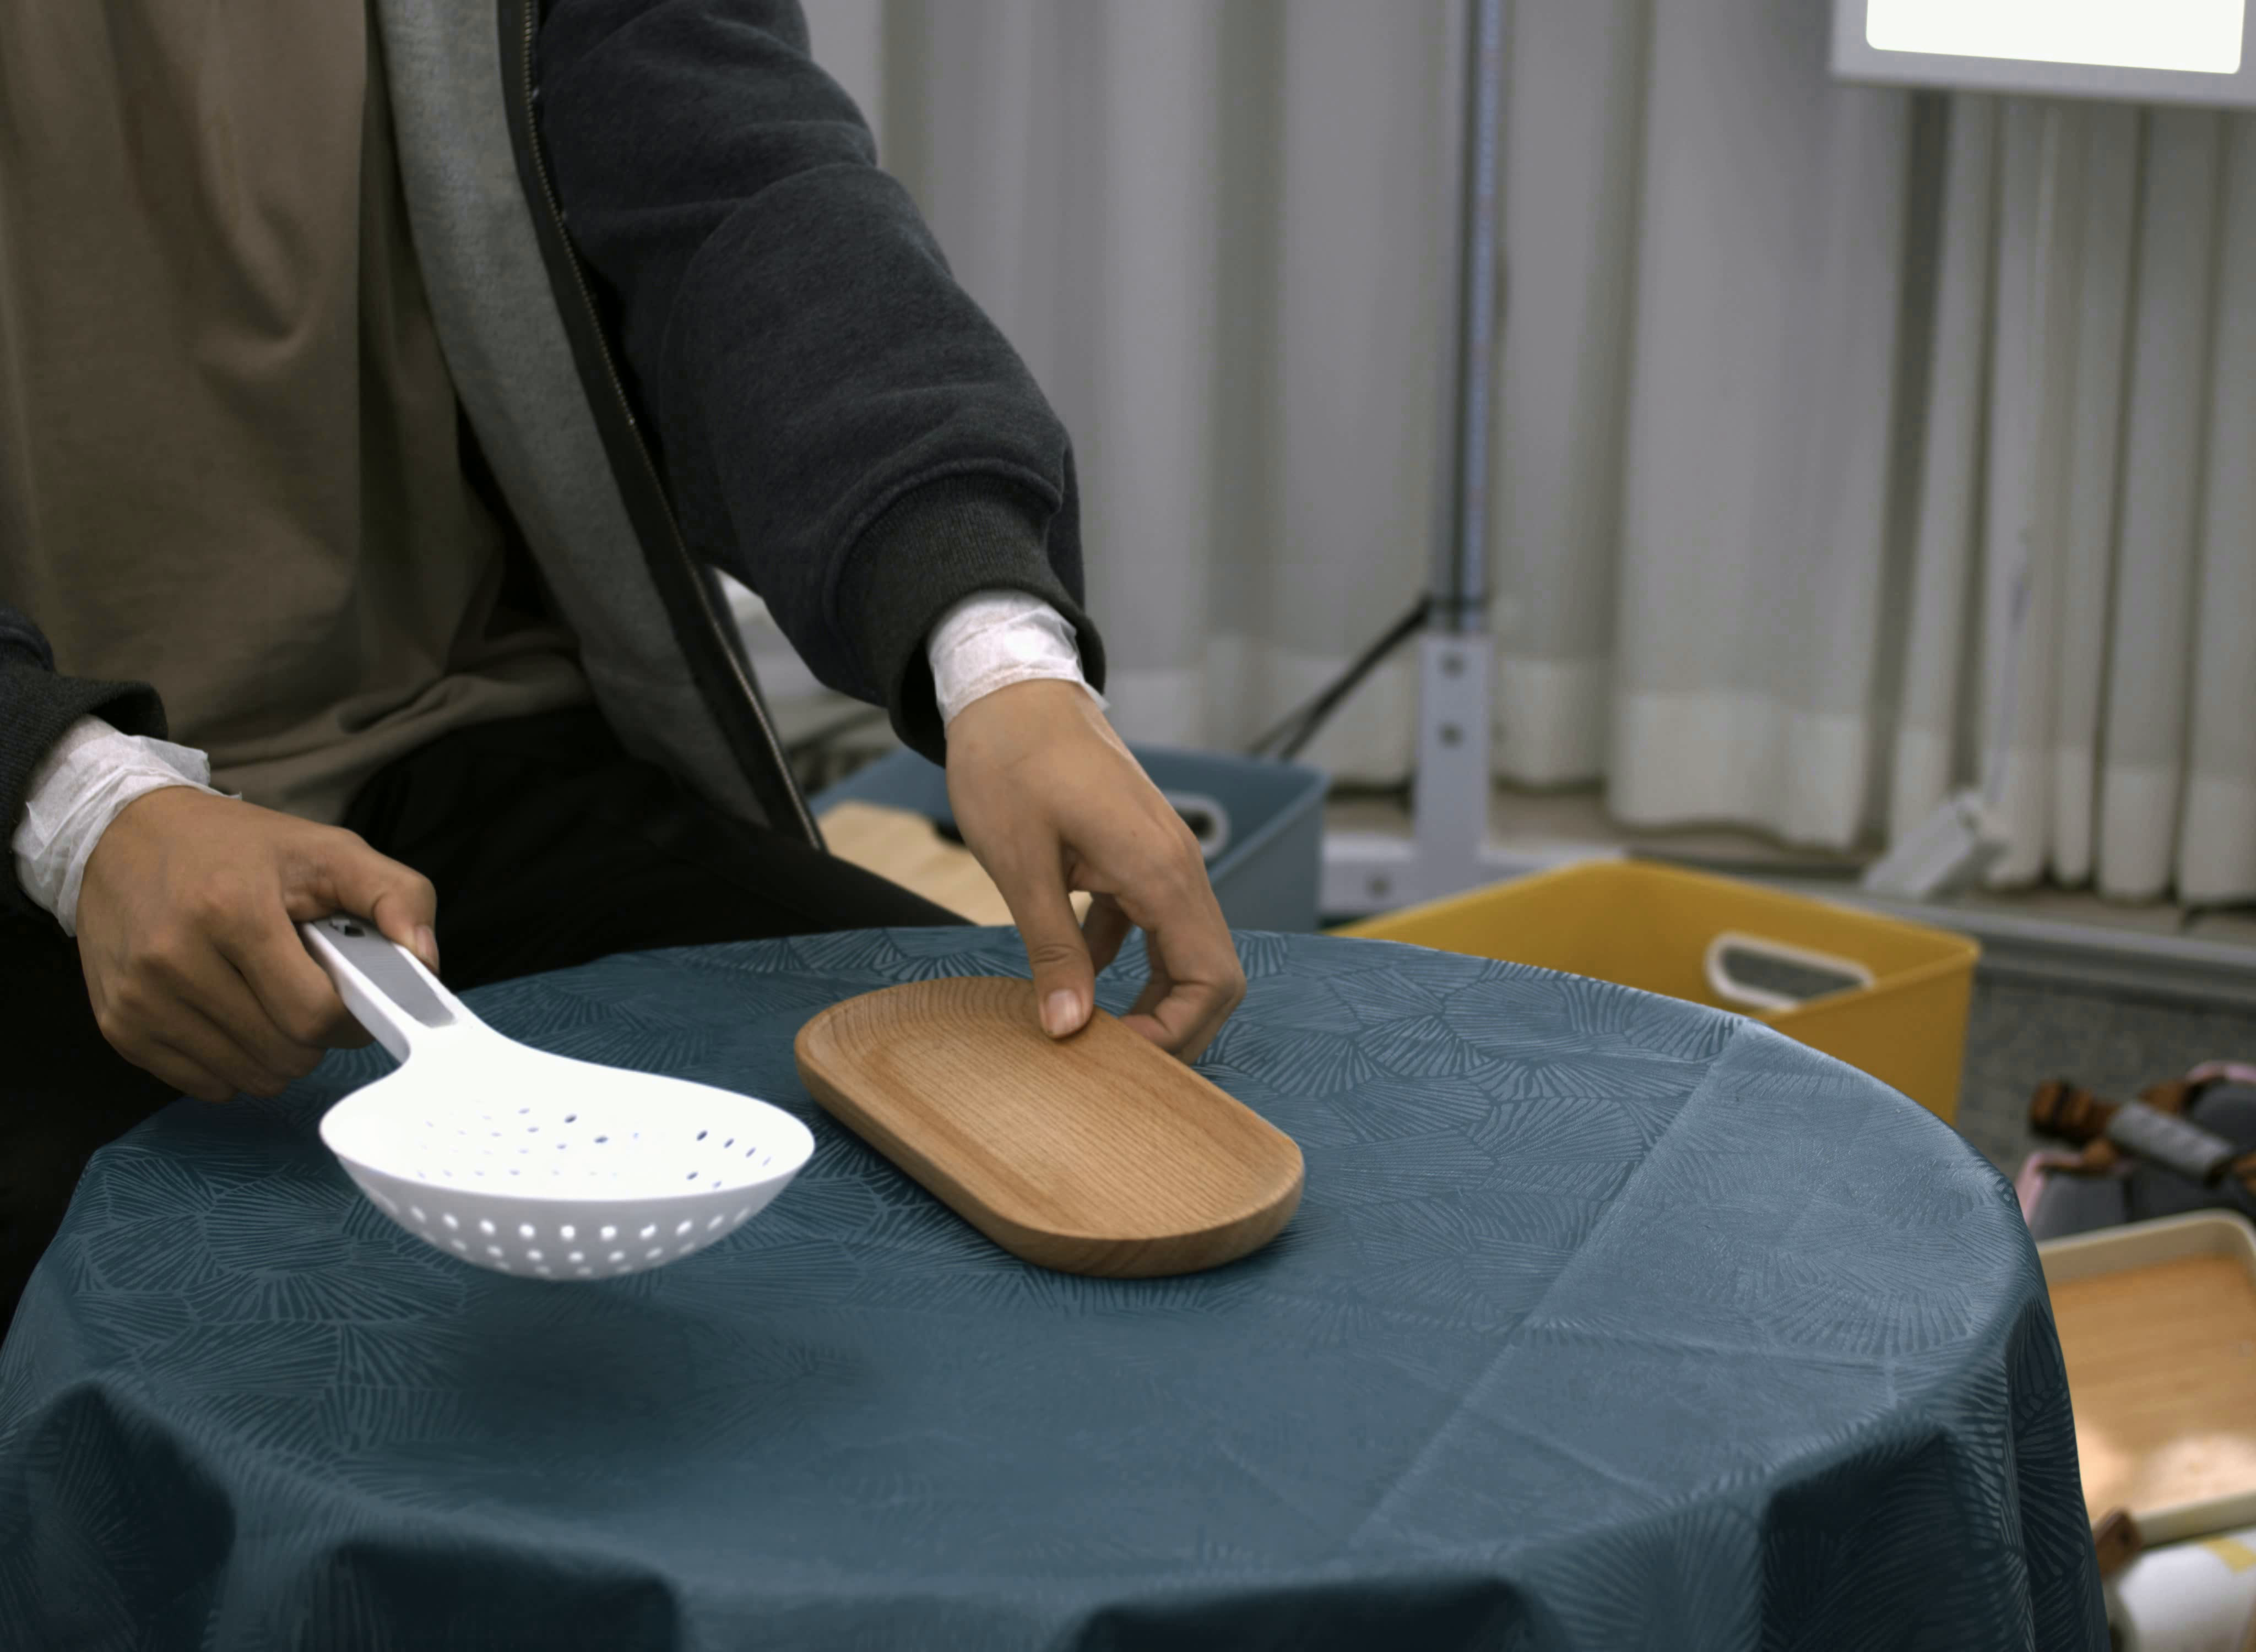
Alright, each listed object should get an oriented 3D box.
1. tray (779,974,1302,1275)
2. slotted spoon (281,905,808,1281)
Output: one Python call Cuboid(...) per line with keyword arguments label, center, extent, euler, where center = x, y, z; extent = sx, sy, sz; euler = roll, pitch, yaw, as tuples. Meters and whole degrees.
Cuboid(label="tray", center=(-0.030, 0.091, 1.644), extent=(0.102, 0.020, 0.228), euler=(-11, 21, -28))
Cuboid(label="slotted spoon", center=(-0.197, 0.069, 1.544), extent=(0.136, 0.046, 0.345), euler=(0, 17, -23))
